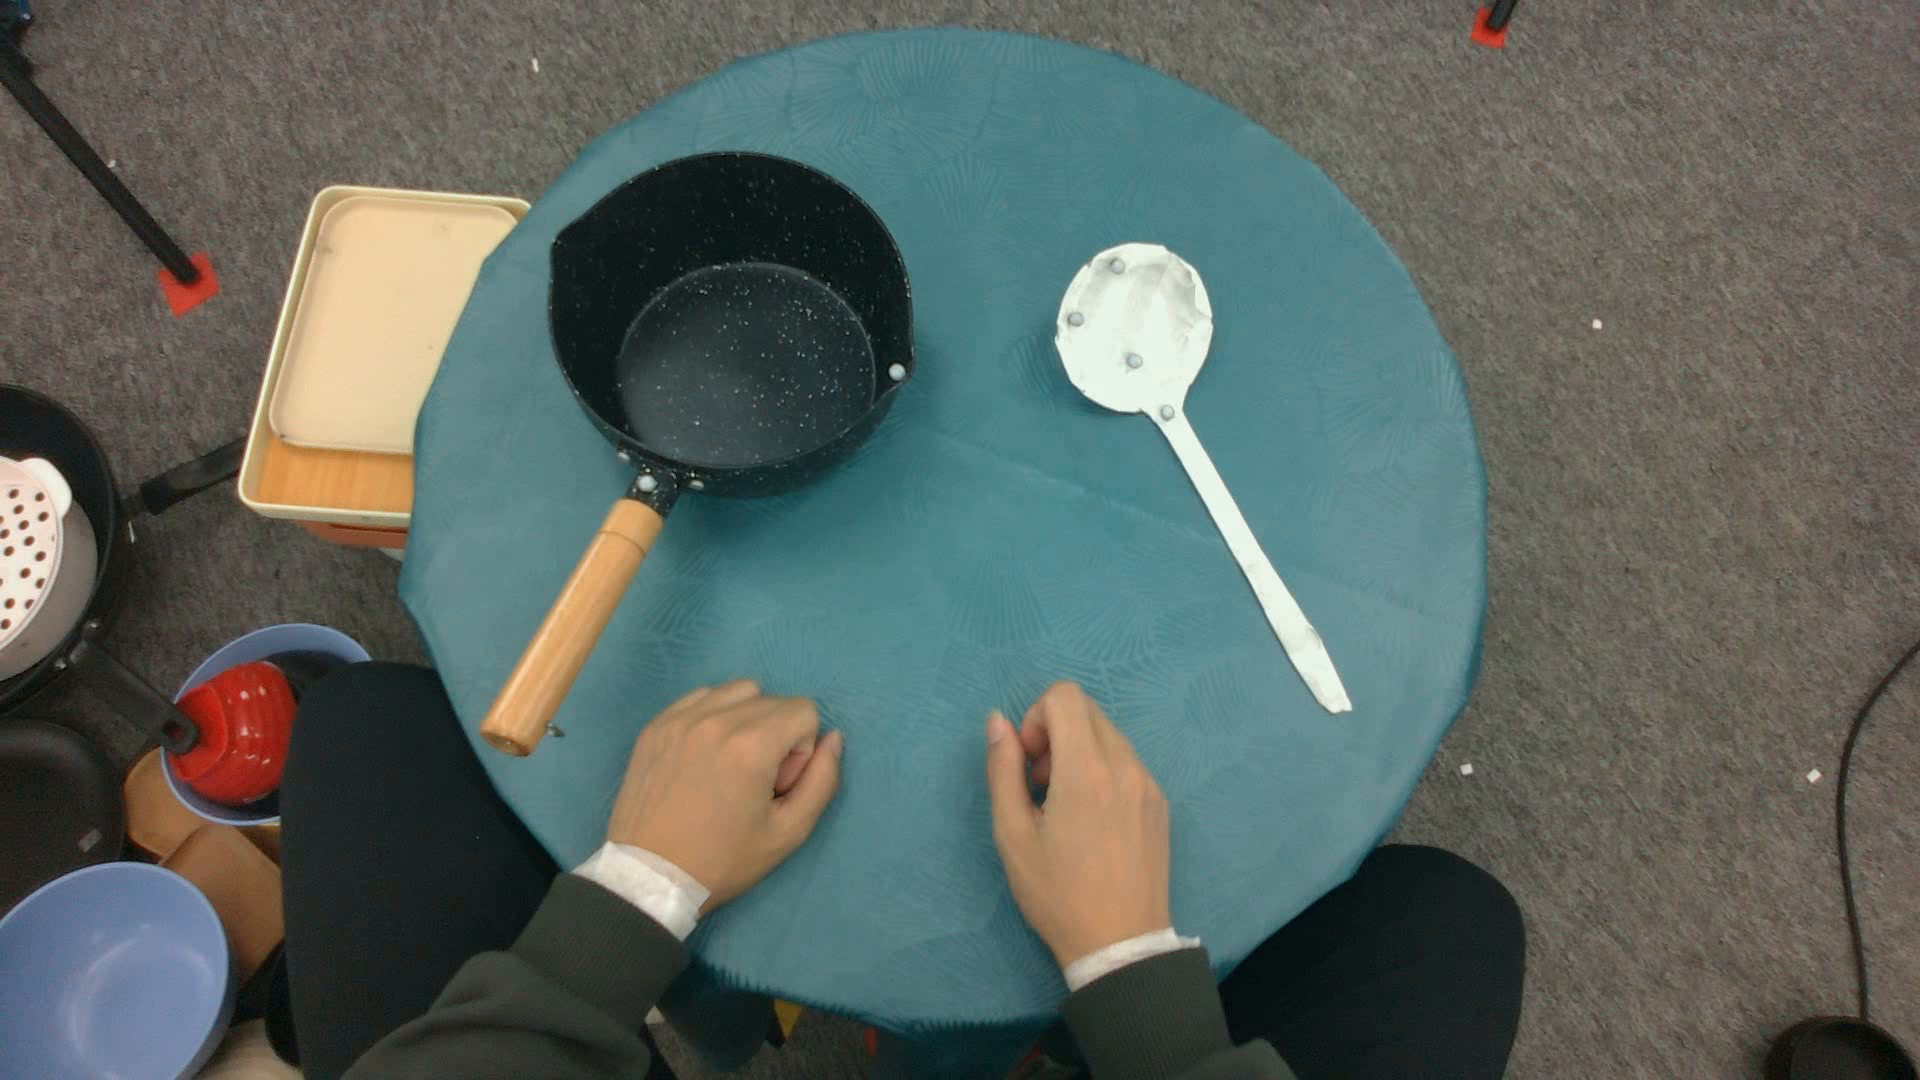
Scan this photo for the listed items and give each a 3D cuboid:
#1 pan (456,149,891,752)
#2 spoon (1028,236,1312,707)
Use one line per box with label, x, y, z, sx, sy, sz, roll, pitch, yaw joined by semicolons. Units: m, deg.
pan;-0.157;-0.042;0.706;0.207;0.108;0.344;18;68;2
spoon;0.122;-0.037;0.751;0.101;0.059;0.278;-24;73;-6
